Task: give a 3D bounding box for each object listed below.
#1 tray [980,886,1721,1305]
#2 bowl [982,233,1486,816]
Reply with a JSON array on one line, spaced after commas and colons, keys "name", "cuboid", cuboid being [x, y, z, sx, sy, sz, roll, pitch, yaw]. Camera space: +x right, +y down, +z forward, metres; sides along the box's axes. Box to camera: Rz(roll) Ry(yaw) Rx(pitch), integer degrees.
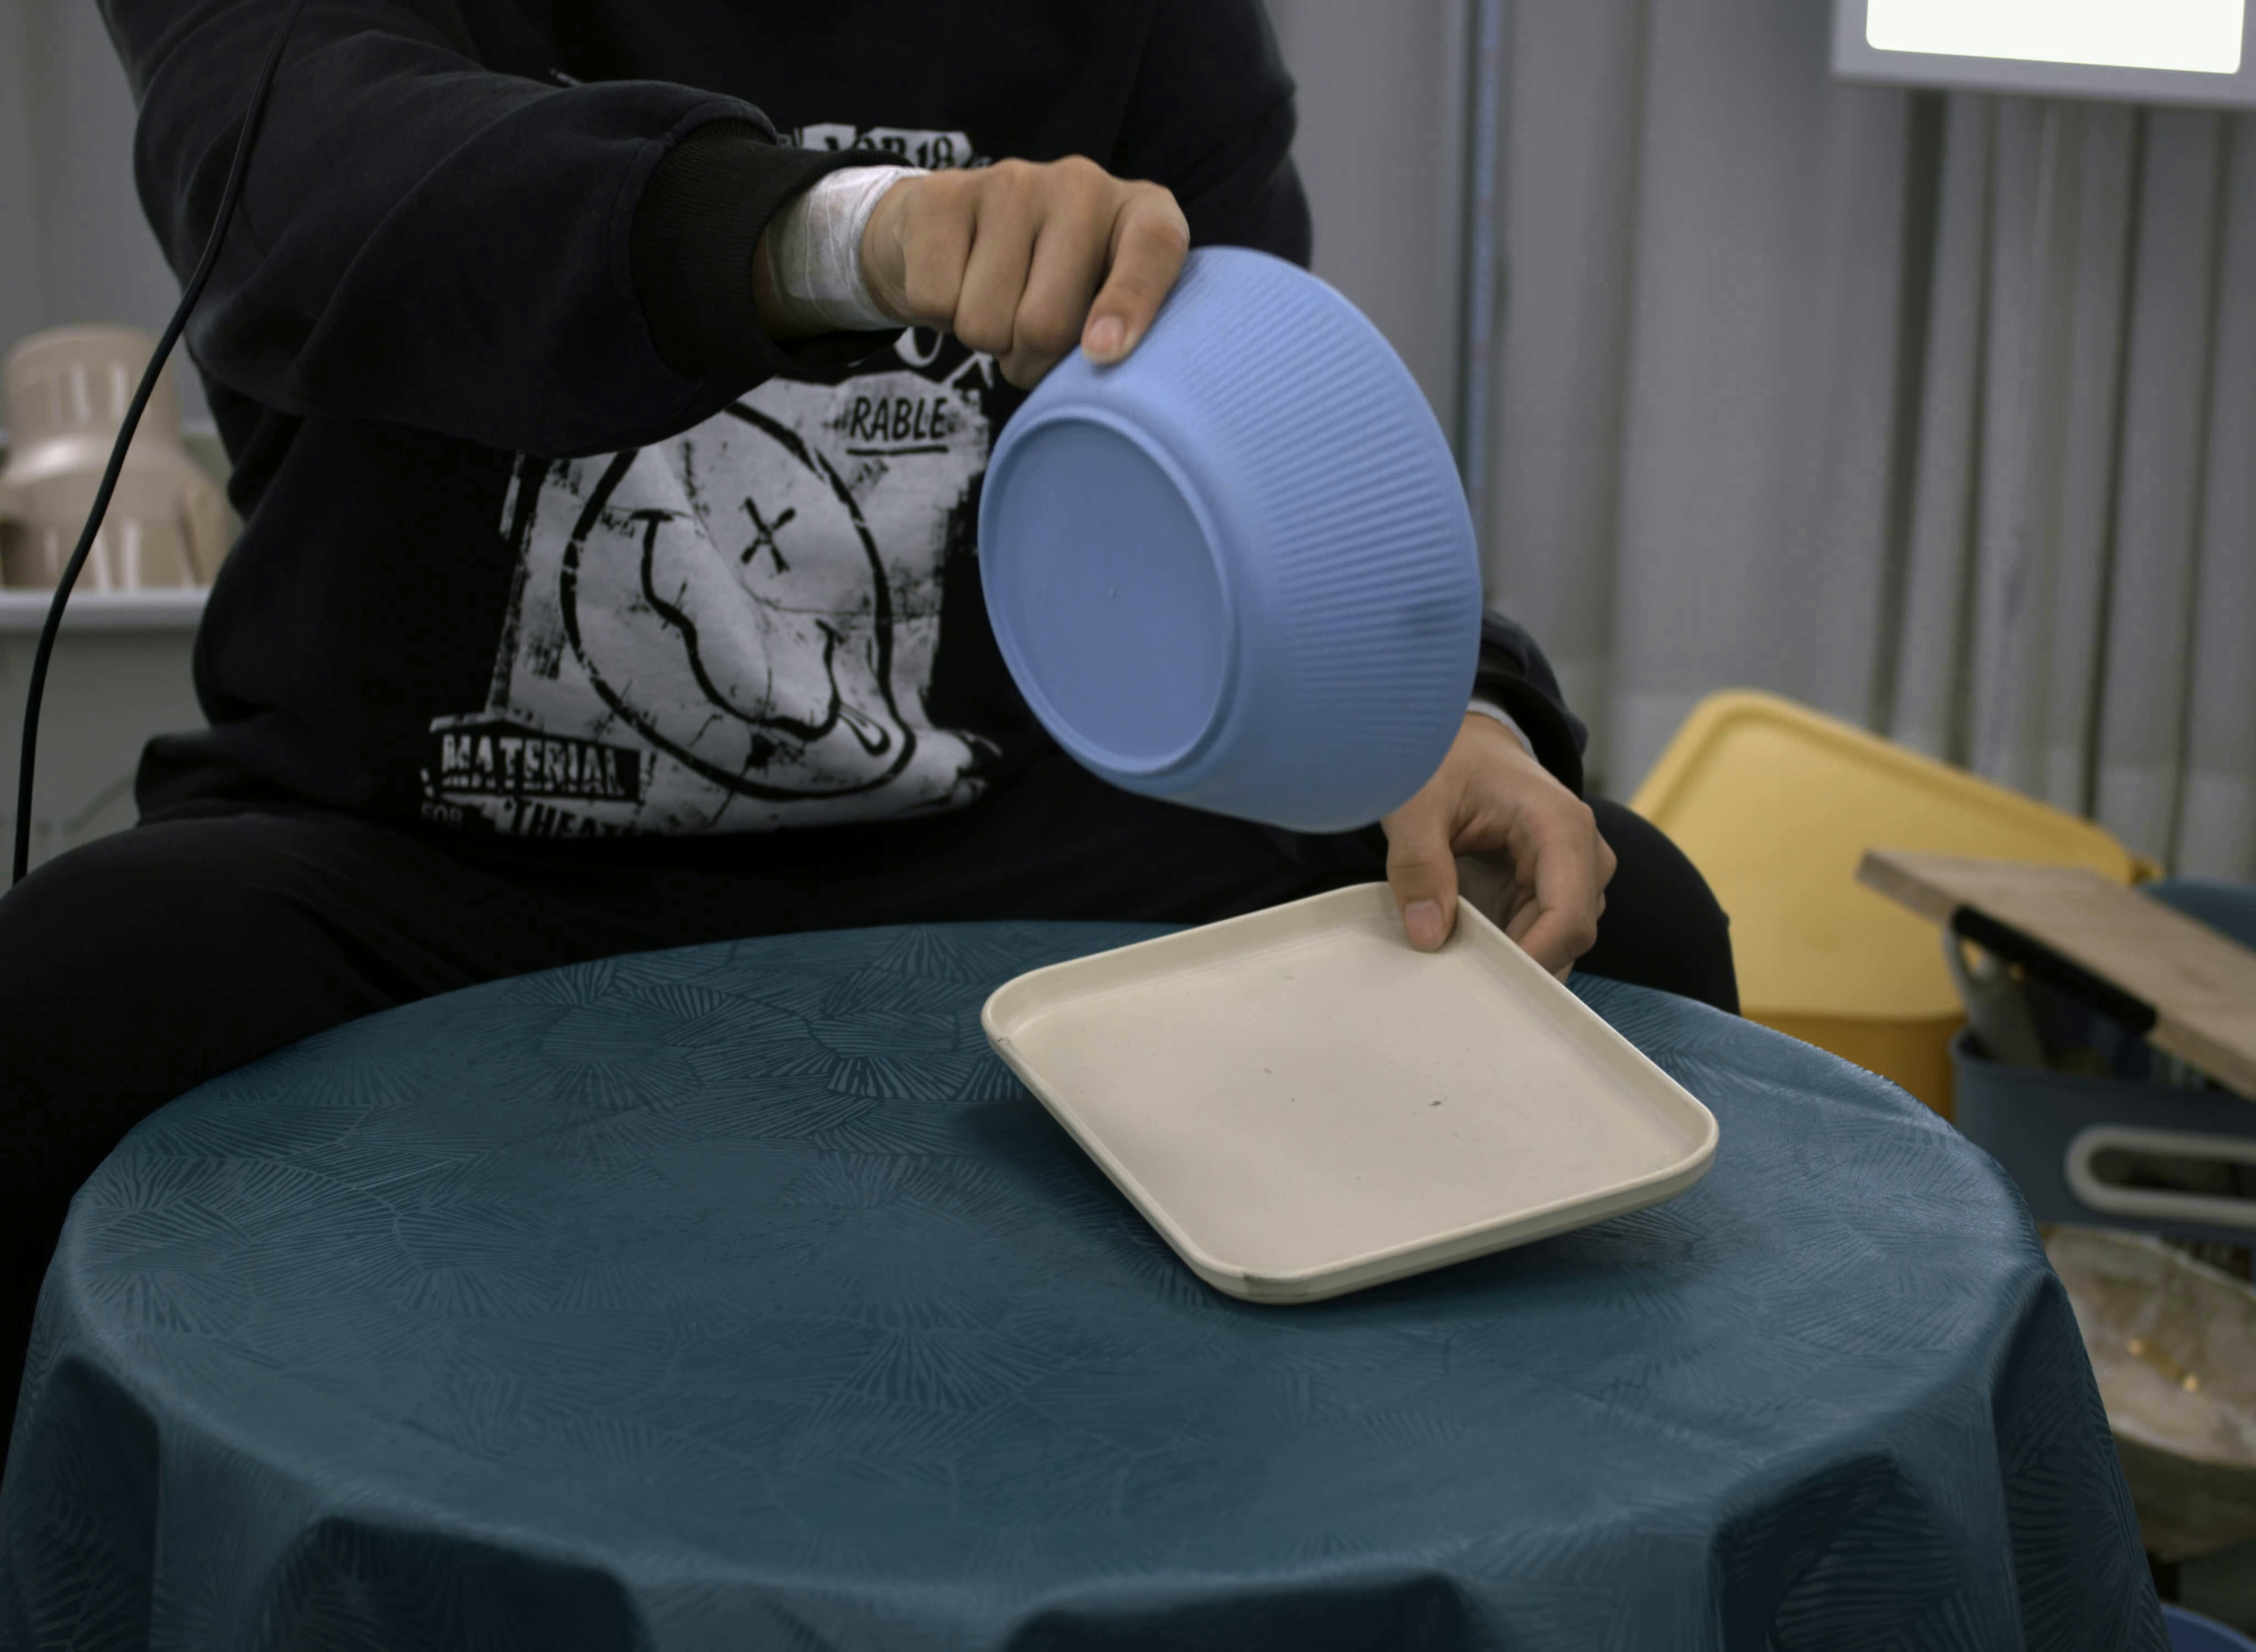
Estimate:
[{"name": "tray", "cuboid": [0.065, 0.082, 1.639, 0.171, 0.017, 0.236, -13, 25, -18]}, {"name": "bowl", "cuboid": [0.018, -0.079, 1.525, 0.070, 0.178, 0.173, -21, 27, -39]}]
